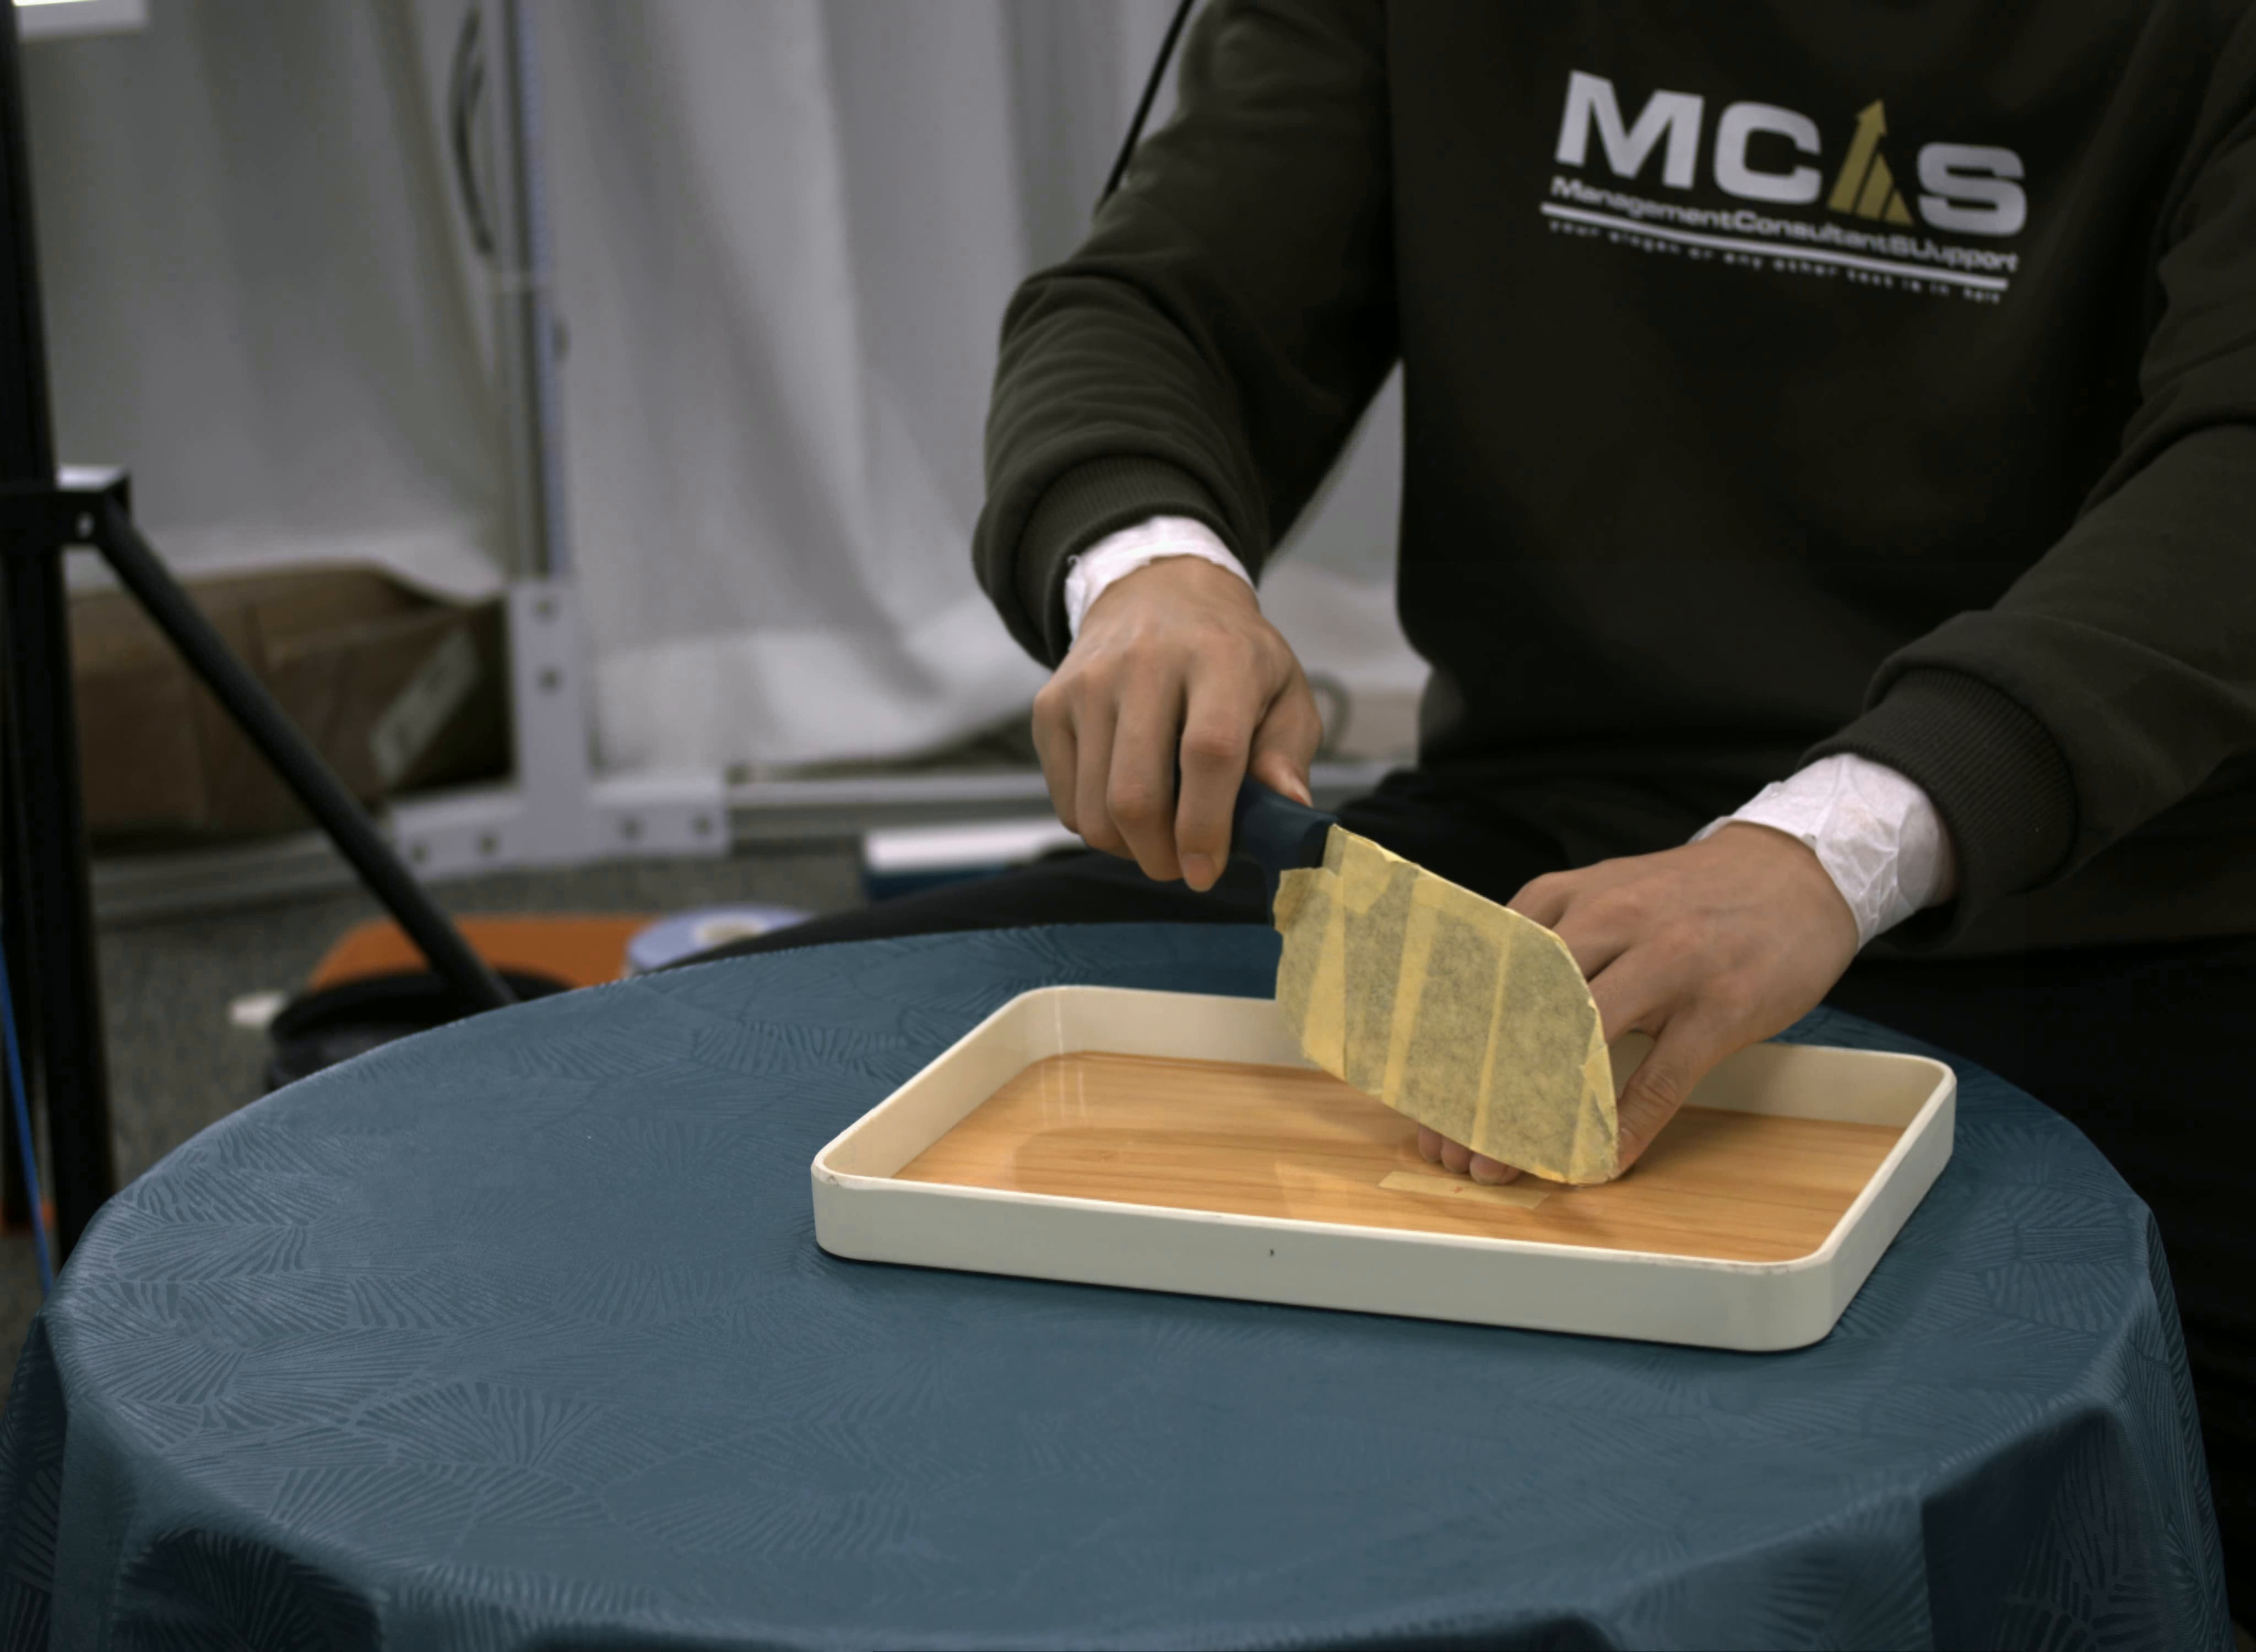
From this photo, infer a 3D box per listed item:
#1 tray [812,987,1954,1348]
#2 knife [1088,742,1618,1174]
[{"bbox_3d":[0.077,0.096,1.543,0.304,0.027,0.189,5,16,22],"label":"tray"},{"bbox_3d":[0.064,0.035,1.586,0.026,0.081,0.296,3,17,-32],"label":"knife"}]
